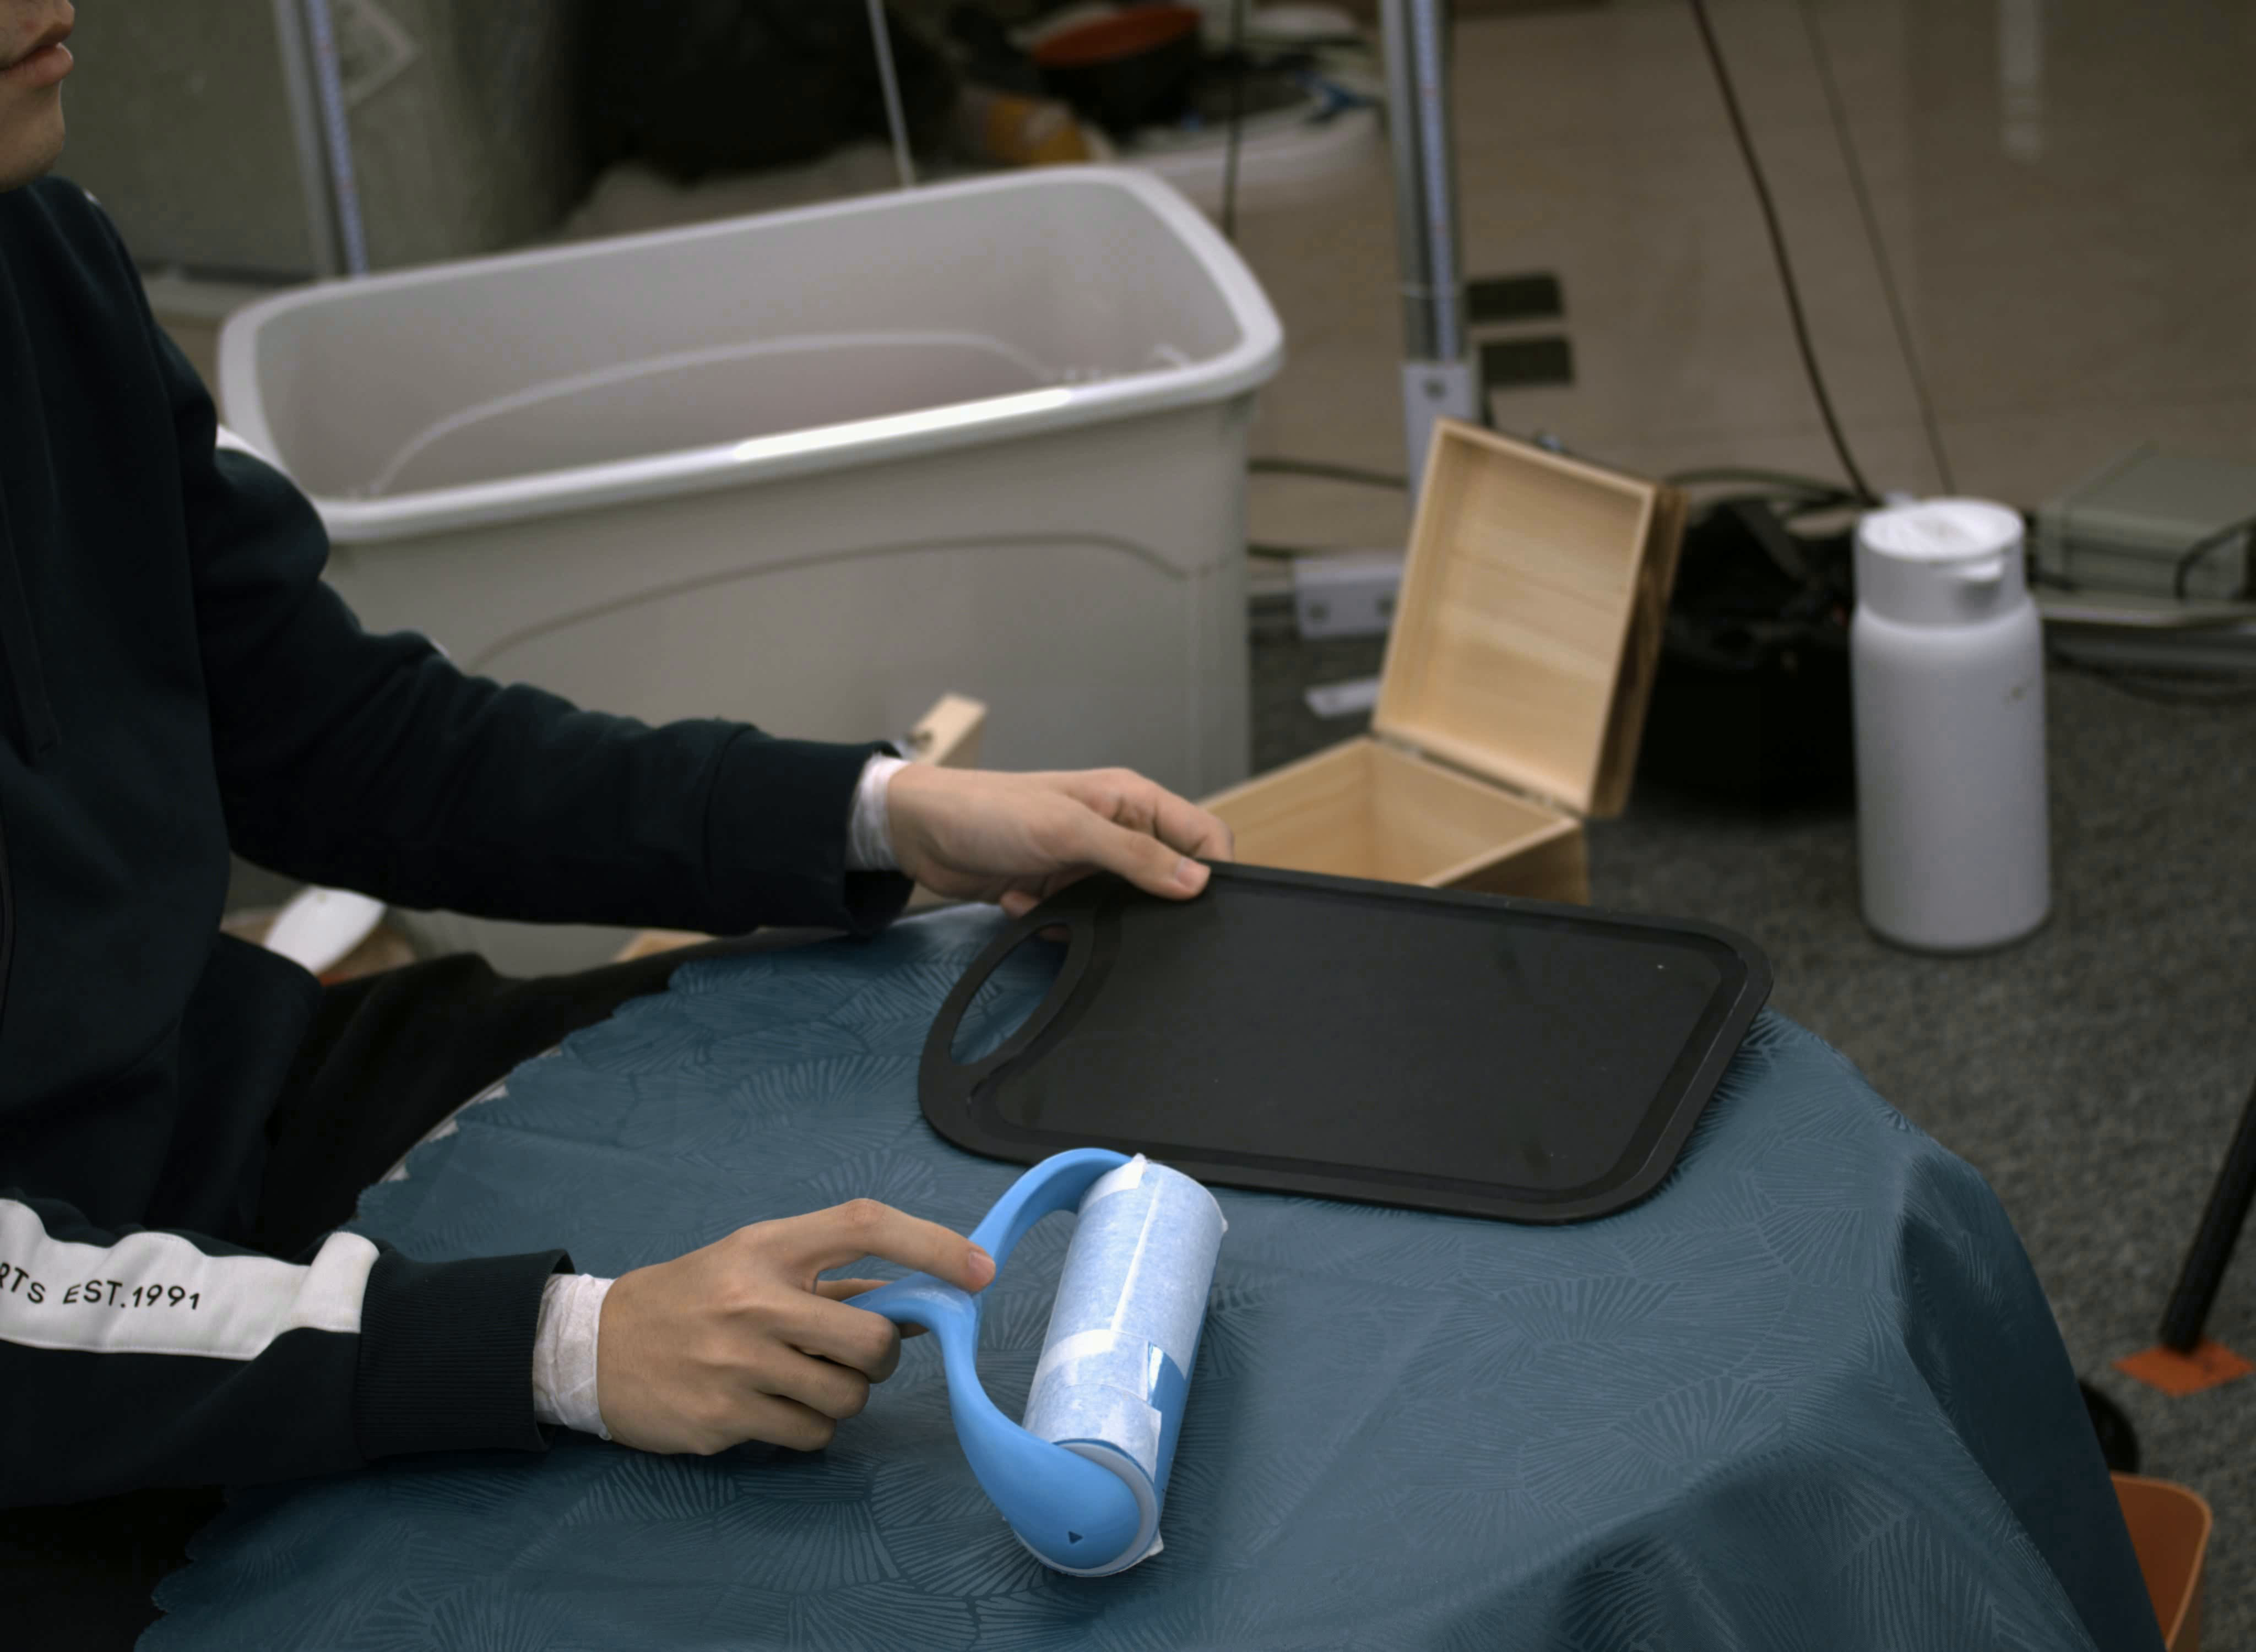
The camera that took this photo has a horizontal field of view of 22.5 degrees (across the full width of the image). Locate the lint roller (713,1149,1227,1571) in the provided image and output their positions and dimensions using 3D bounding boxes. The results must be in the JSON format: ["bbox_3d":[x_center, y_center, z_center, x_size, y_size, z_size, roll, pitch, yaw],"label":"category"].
[{"bbox_3d":[-0.061,0.188,1.986,0.180,0.069,0.225,-3,27,6],"label":"lint roller"}]

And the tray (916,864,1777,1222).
[{"bbox_3d":[0.078,0.080,2.214,0.324,0.010,0.208,6,35,24],"label":"tray"}]
